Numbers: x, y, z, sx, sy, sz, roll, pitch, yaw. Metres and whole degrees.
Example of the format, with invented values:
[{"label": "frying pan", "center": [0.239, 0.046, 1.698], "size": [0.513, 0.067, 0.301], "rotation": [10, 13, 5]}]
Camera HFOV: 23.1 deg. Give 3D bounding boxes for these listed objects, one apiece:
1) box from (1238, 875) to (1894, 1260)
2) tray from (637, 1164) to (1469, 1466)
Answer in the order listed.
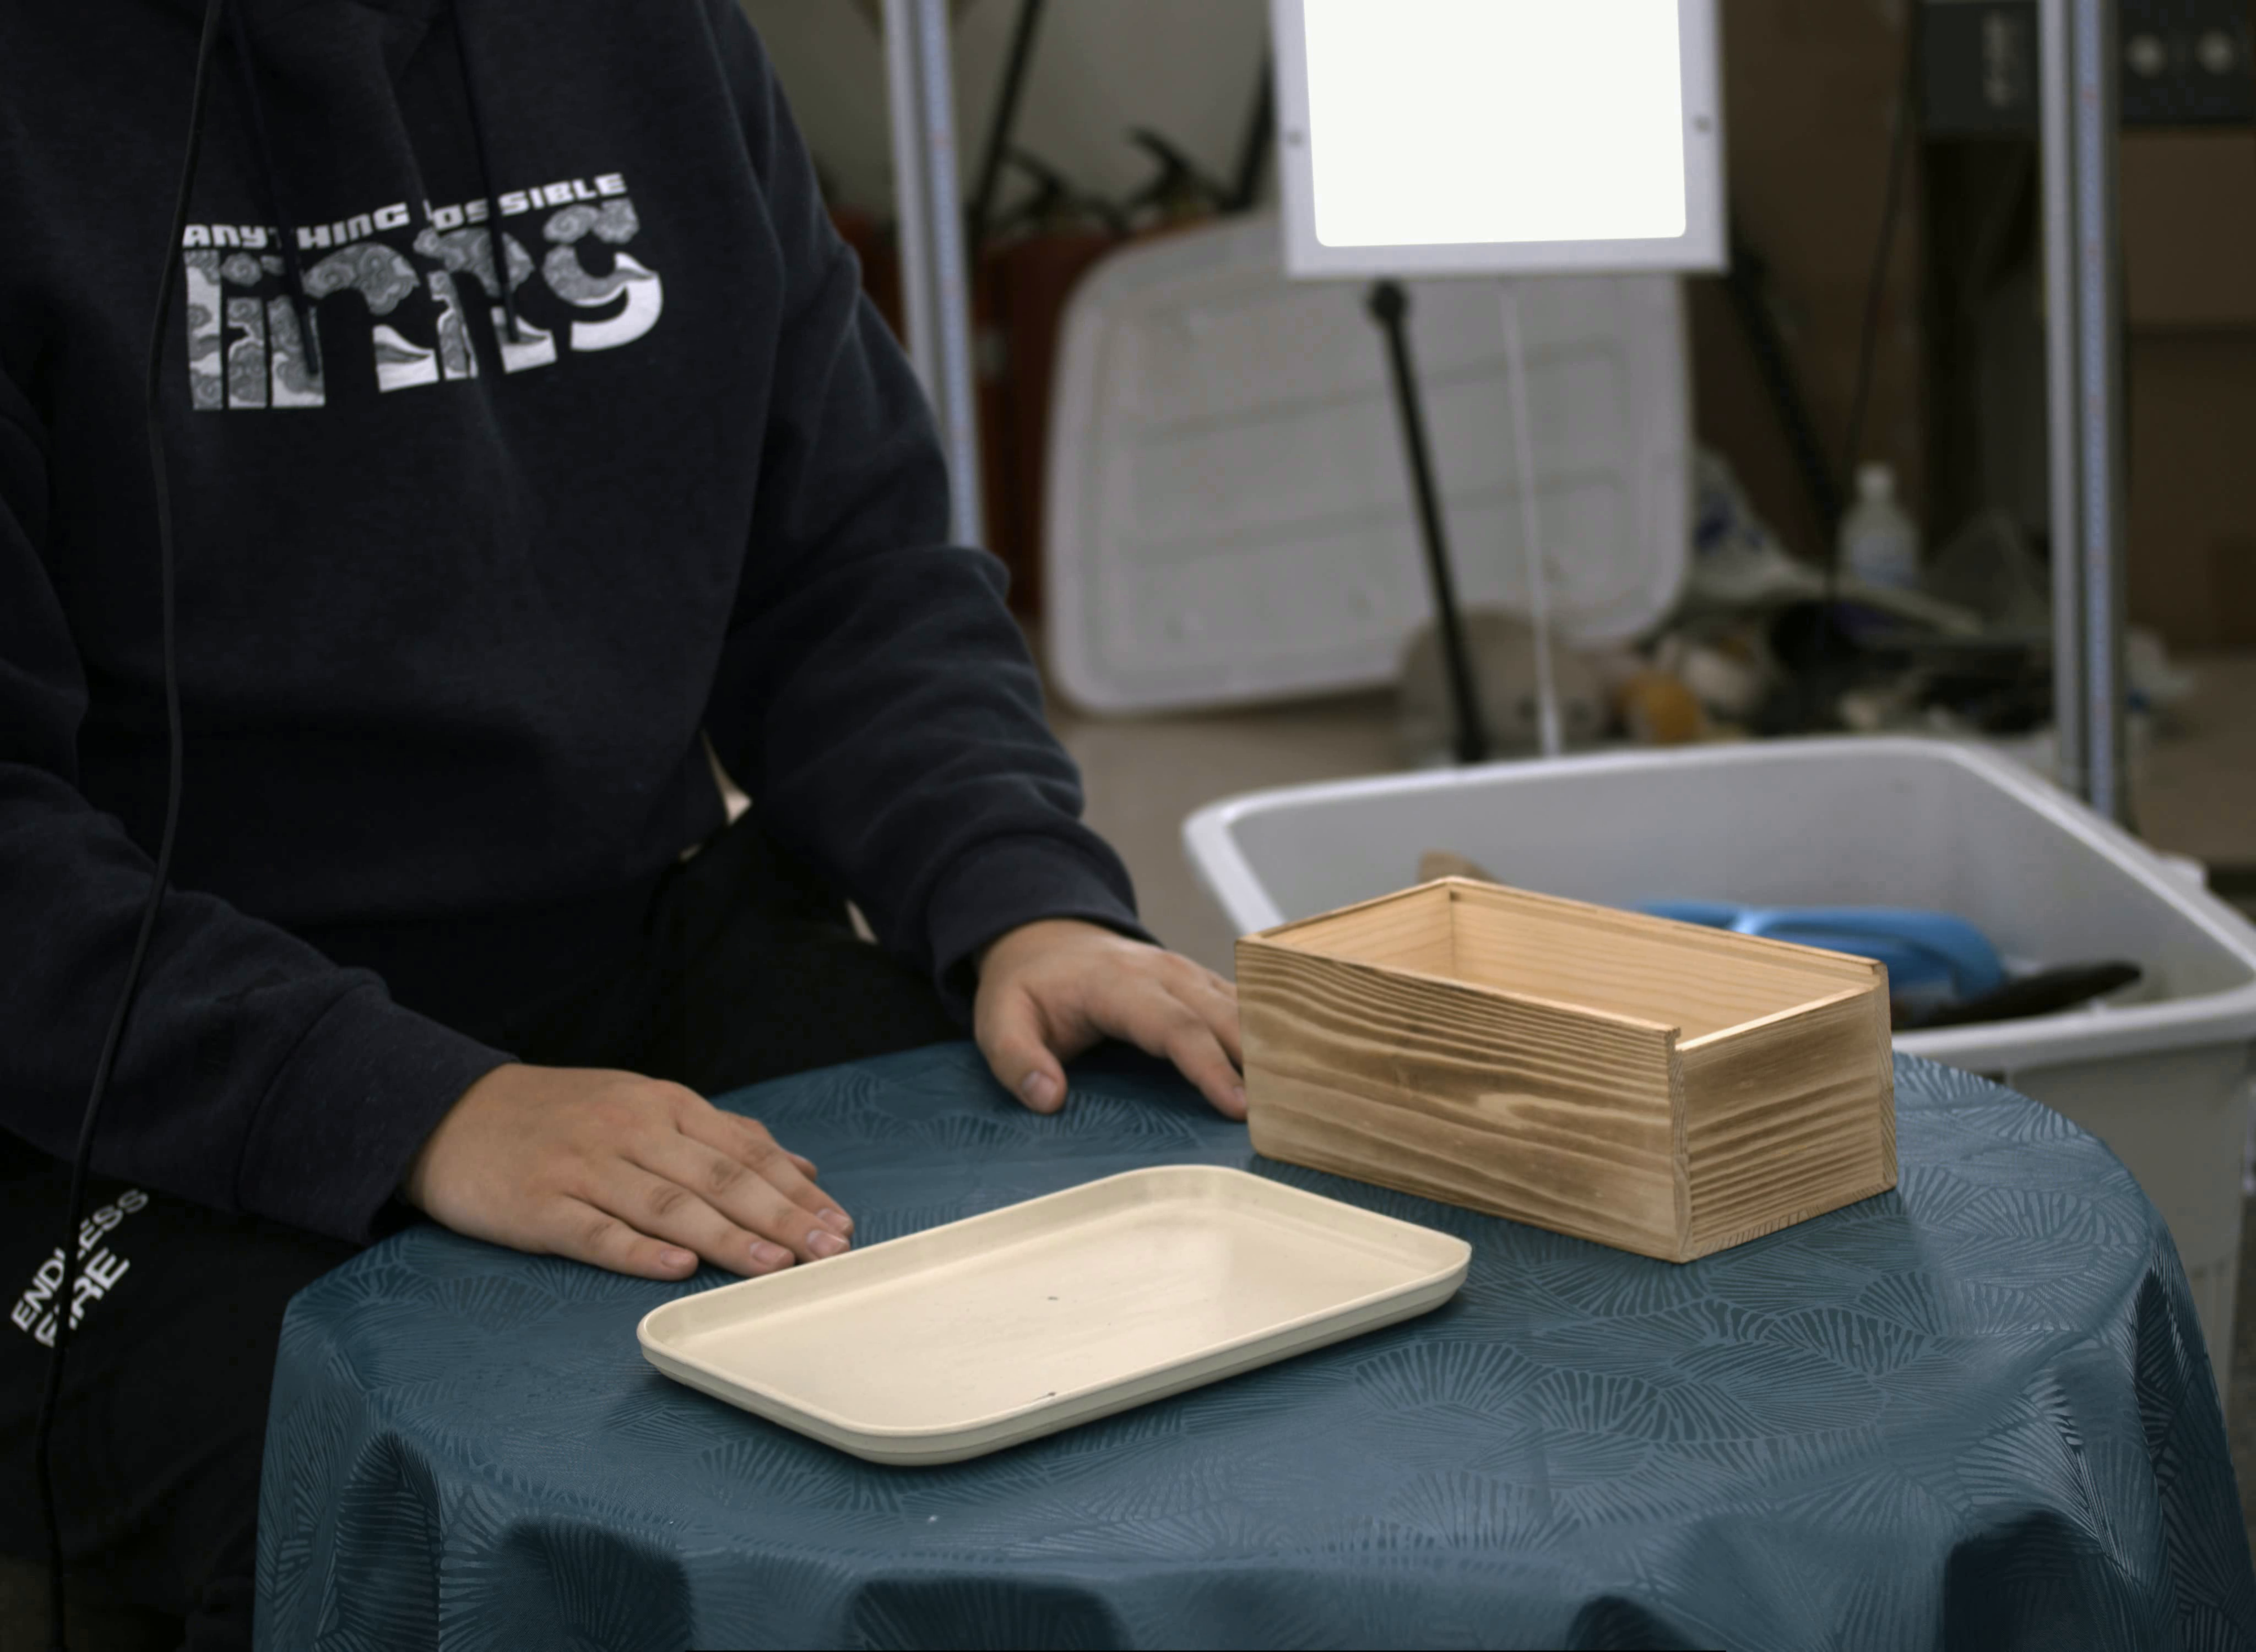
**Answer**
[{"label": "box", "center": [0.148, 0.079, 1.873], "size": [0.105, 0.080, 0.216], "rotation": [-15, 16, -37]}, {"label": "tray", "center": [-0.022, 0.154, 1.754], "size": [0.234, 0.017, 0.175], "rotation": [-14, 16, -33]}]
